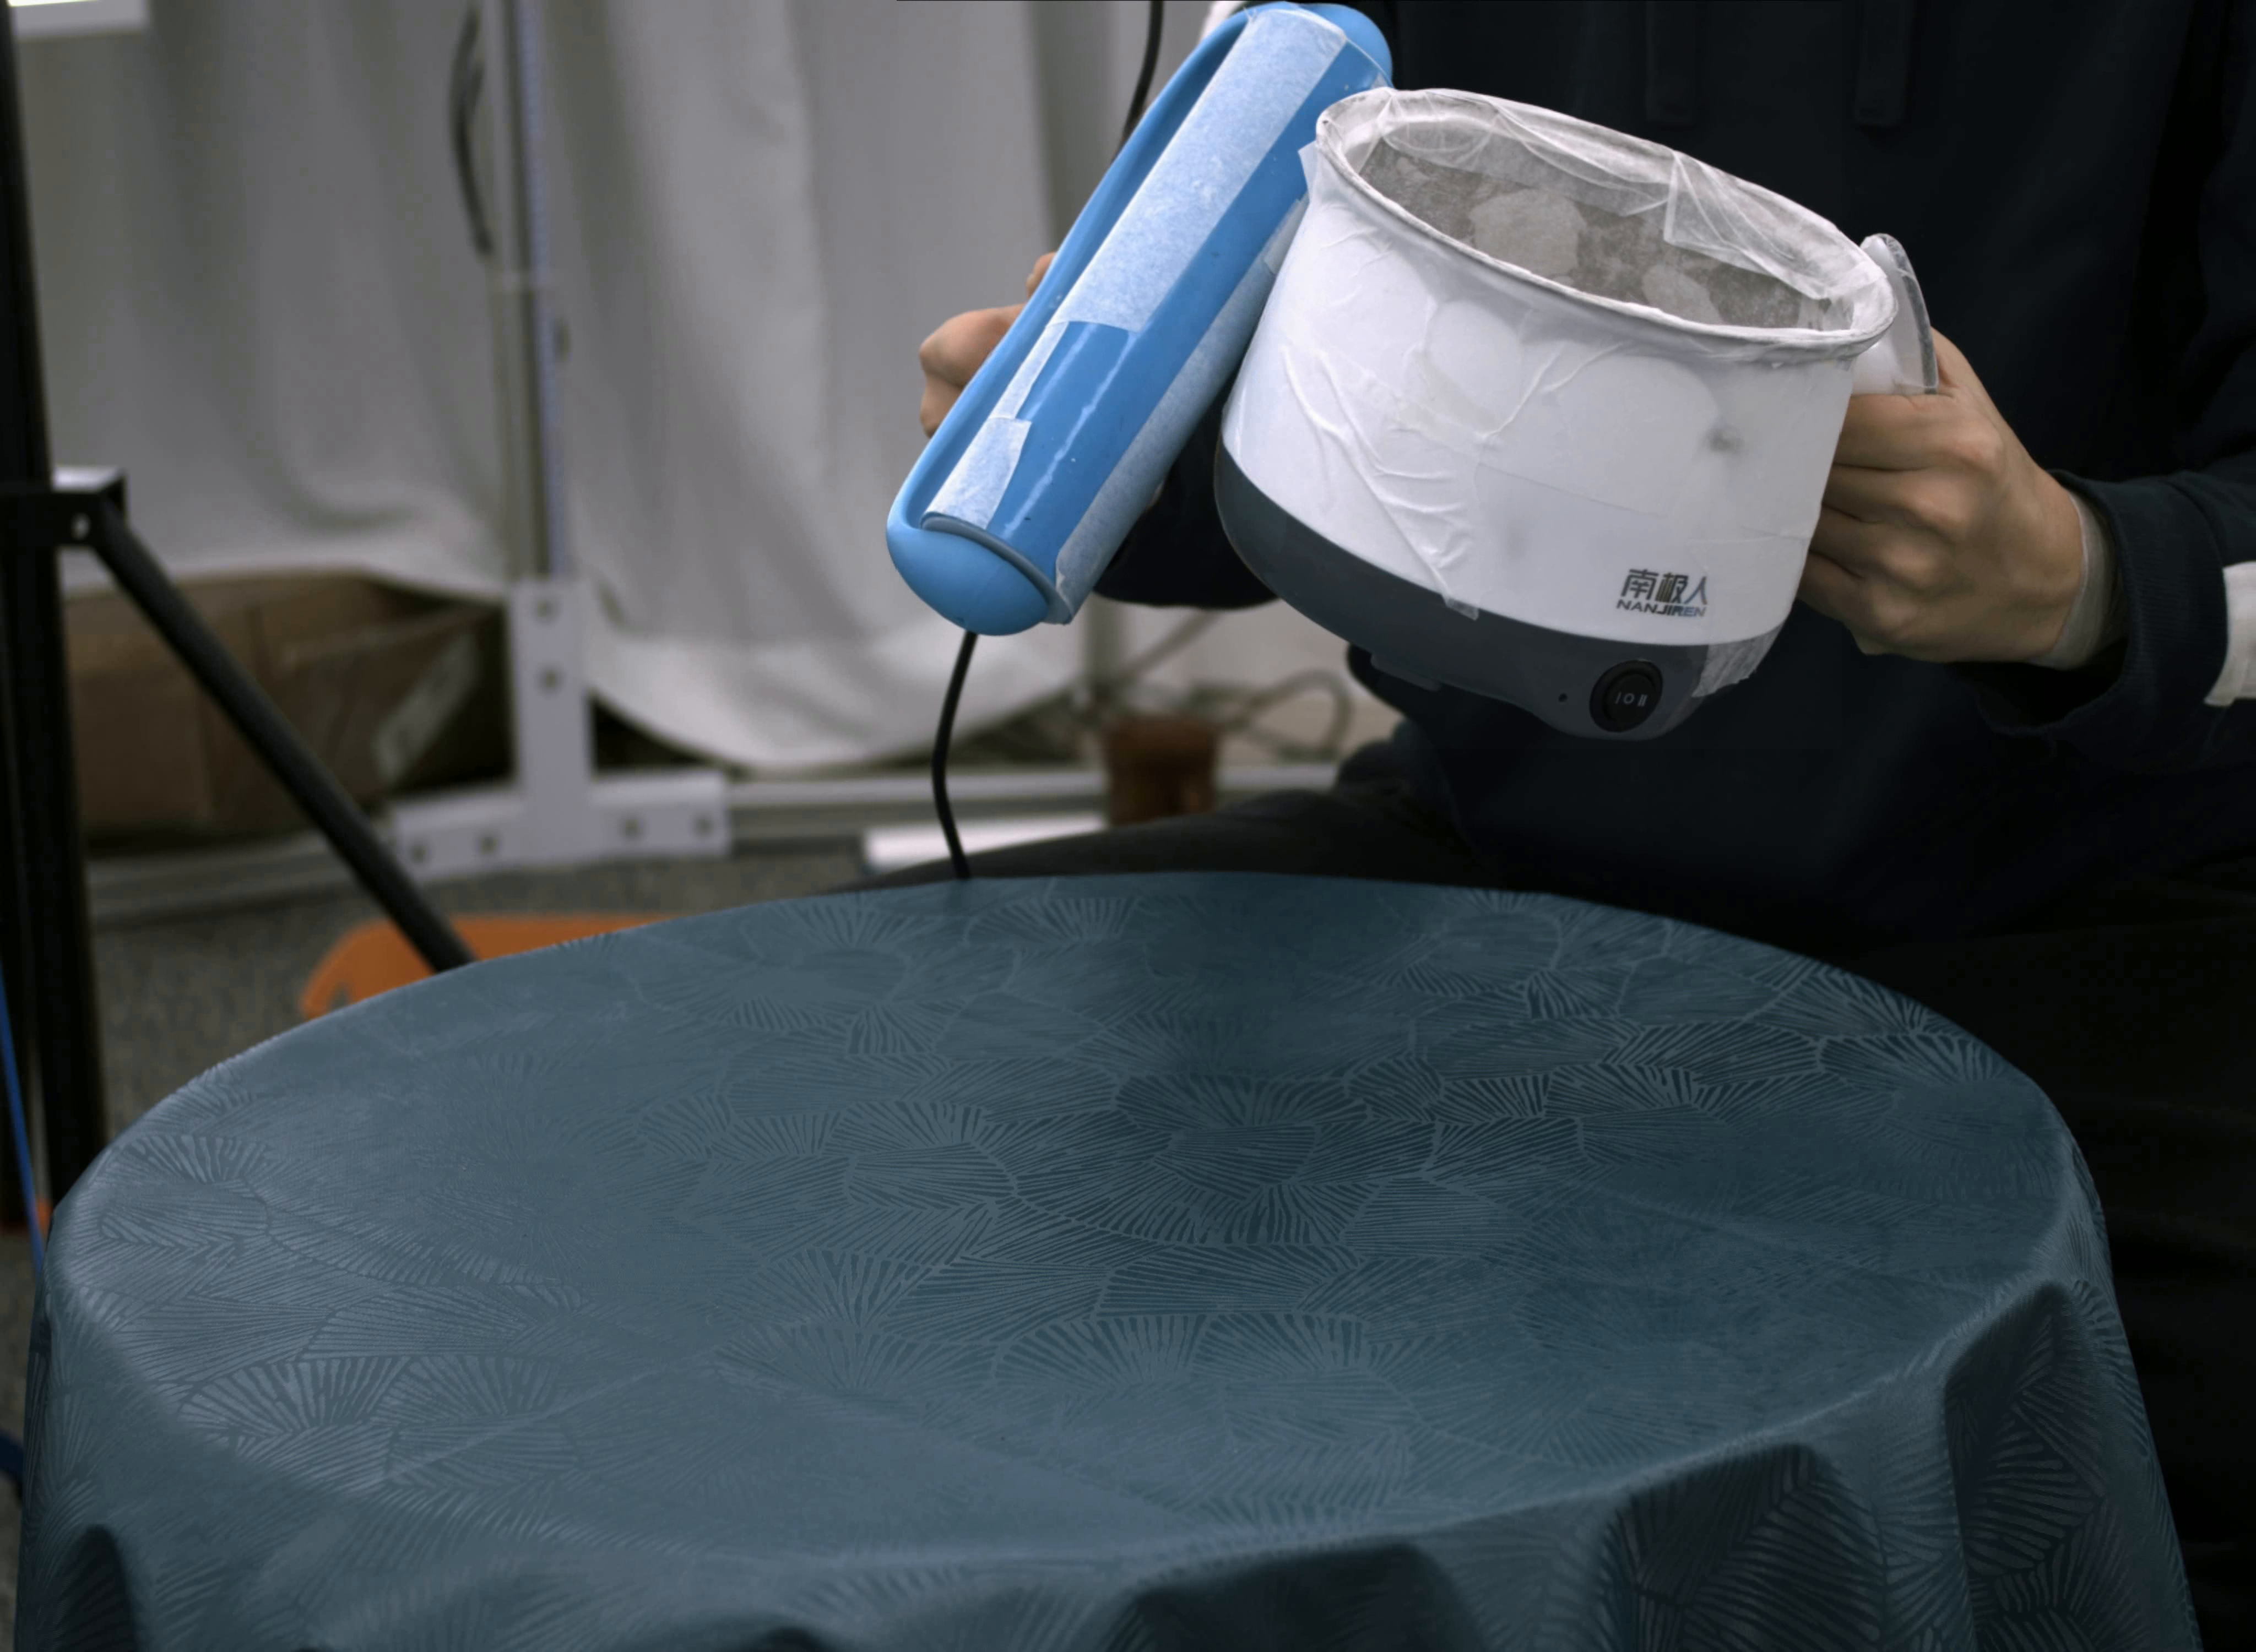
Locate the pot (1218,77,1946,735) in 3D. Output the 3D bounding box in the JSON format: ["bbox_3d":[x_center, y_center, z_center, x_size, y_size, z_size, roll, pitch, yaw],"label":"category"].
[{"bbox_3d":[0.145,-0.123,1.567,0.228,0.137,0.182,2,28,-28],"label":"pot"}]

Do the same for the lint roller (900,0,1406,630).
[{"bbox_3d":[-0.004,-0.141,1.636,0.067,0.228,0.181,33,-20,-7],"label":"lint roller"}]
